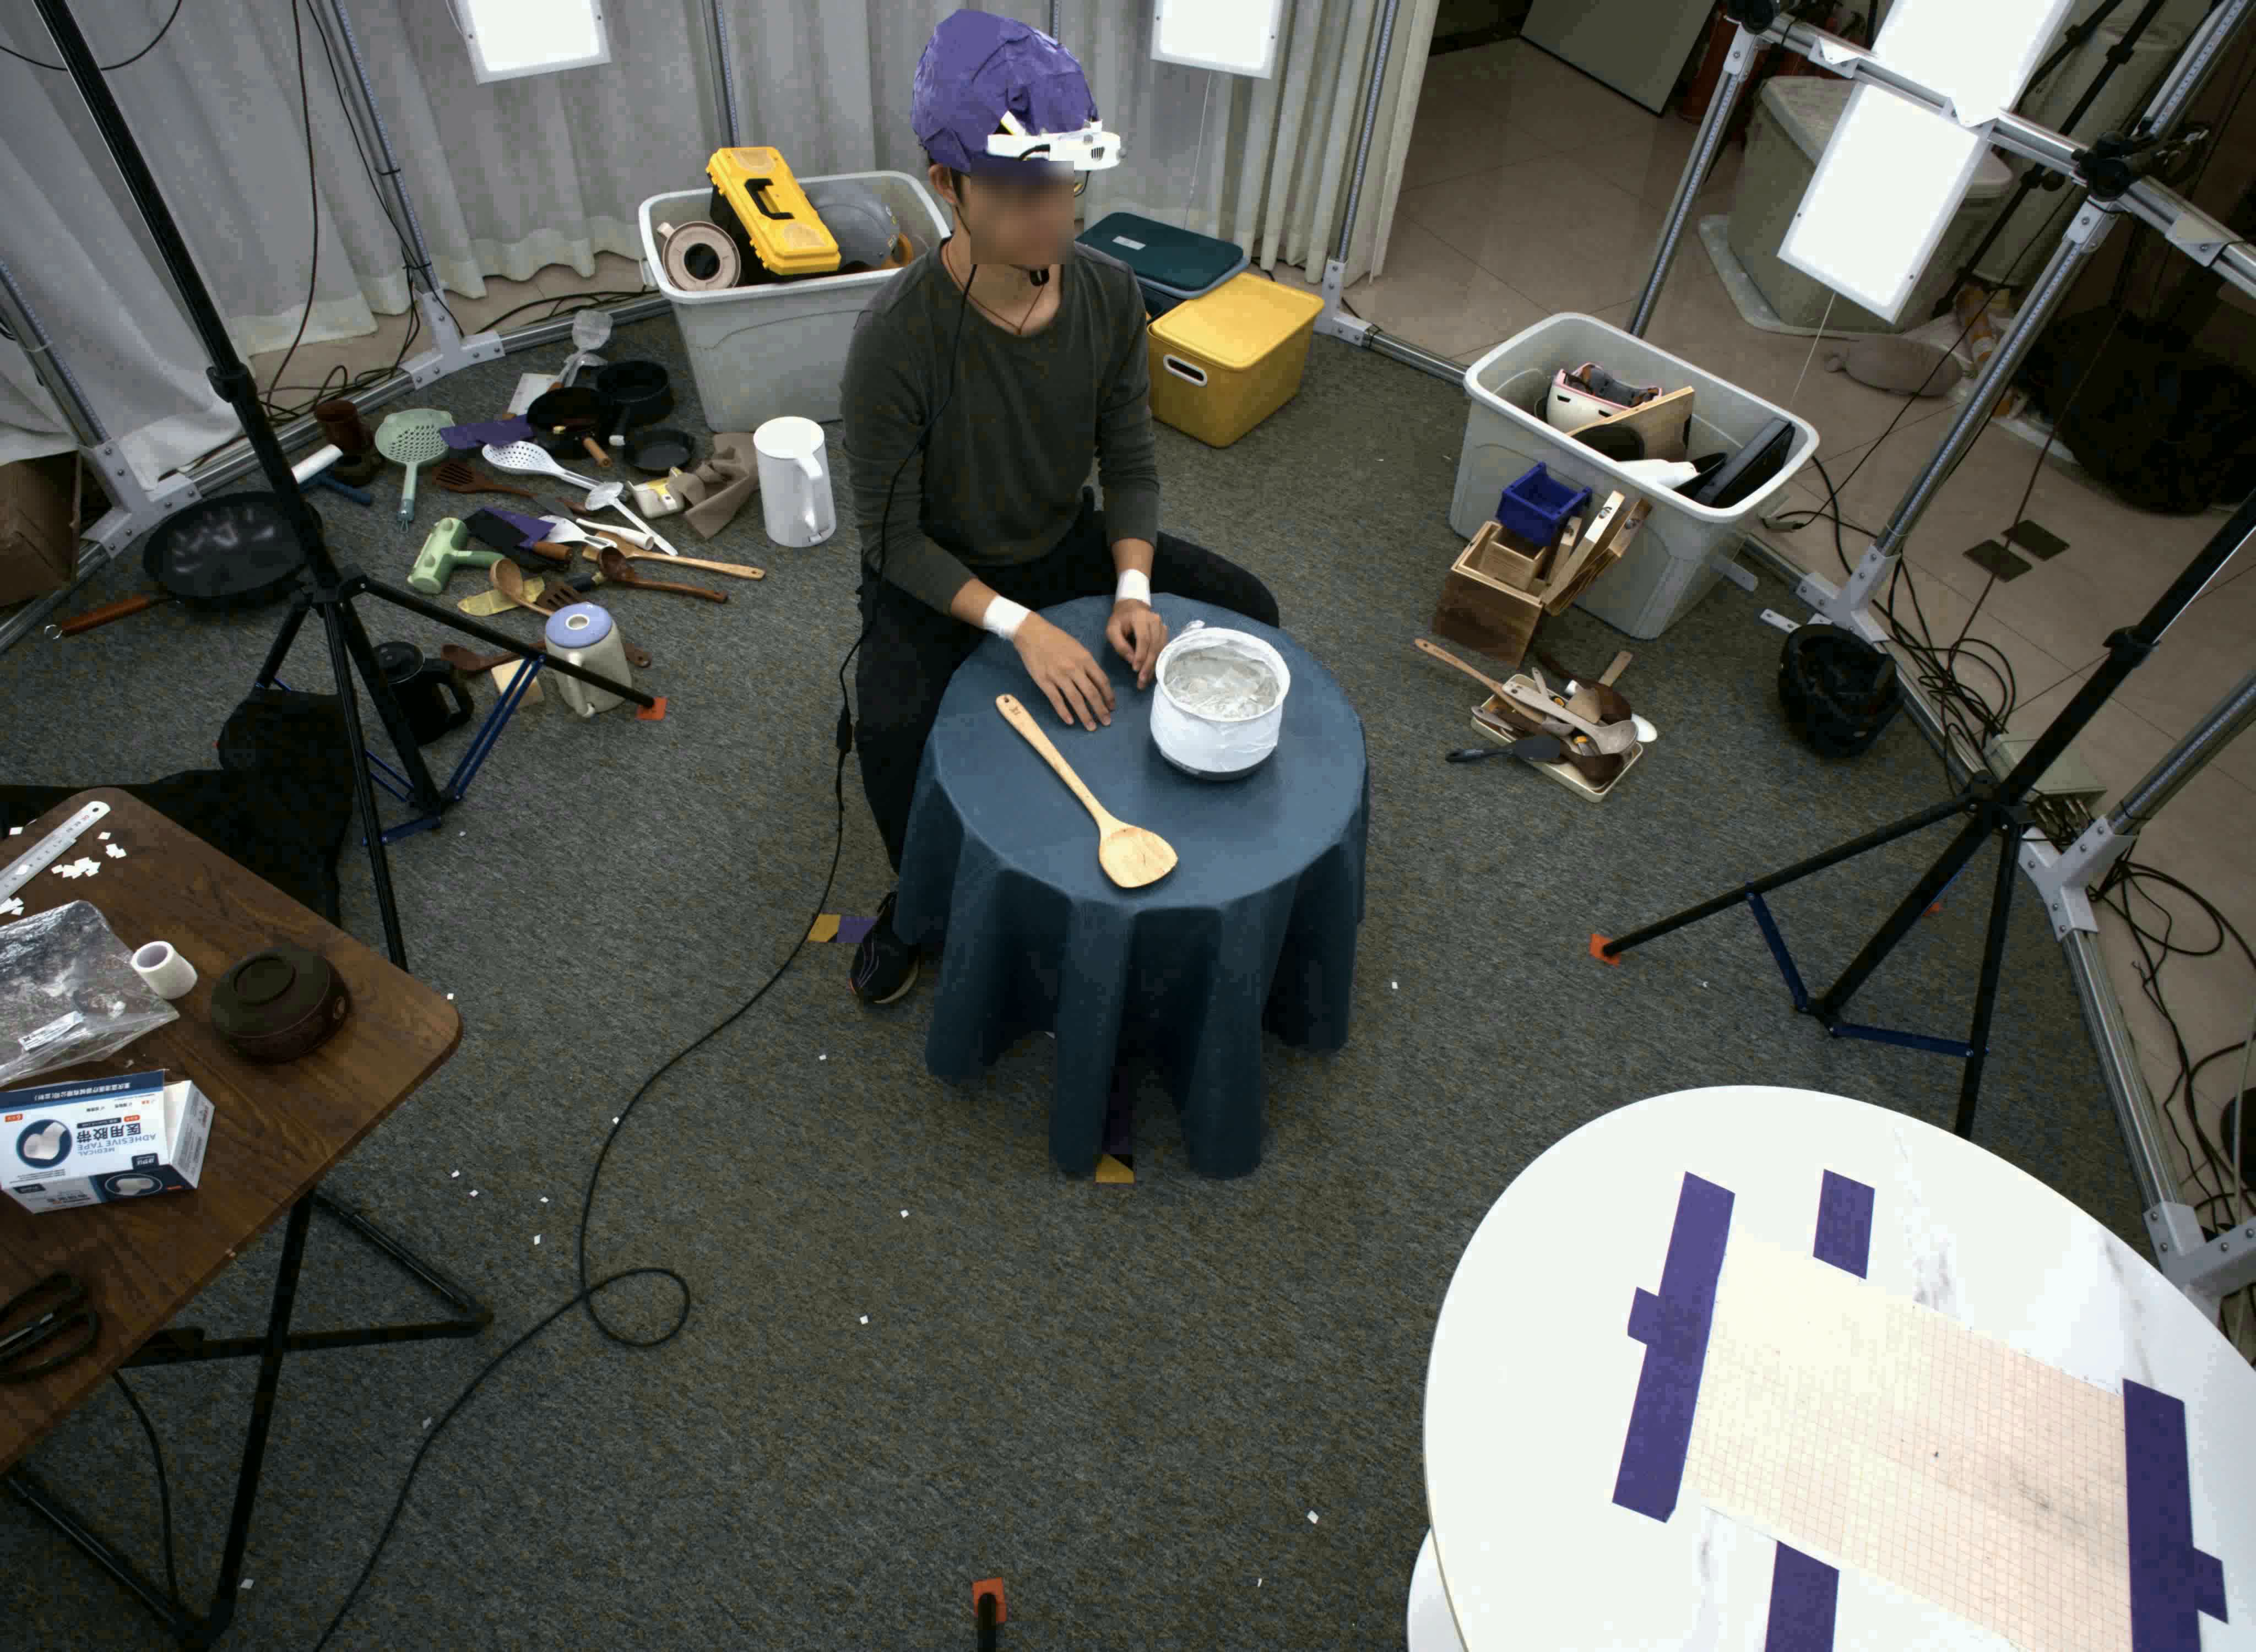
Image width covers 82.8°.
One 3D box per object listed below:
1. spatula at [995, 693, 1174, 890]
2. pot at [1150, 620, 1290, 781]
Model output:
[{"bbox_3d":[-0.077,-0.056,1.699,0.096,0.018,0.398,-23,55,-24],"label":"spatula"},{"bbox_3d":[0.112,-0.180,1.743,0.178,0.133,0.239,-12,51,-14],"label":"pot"}]
